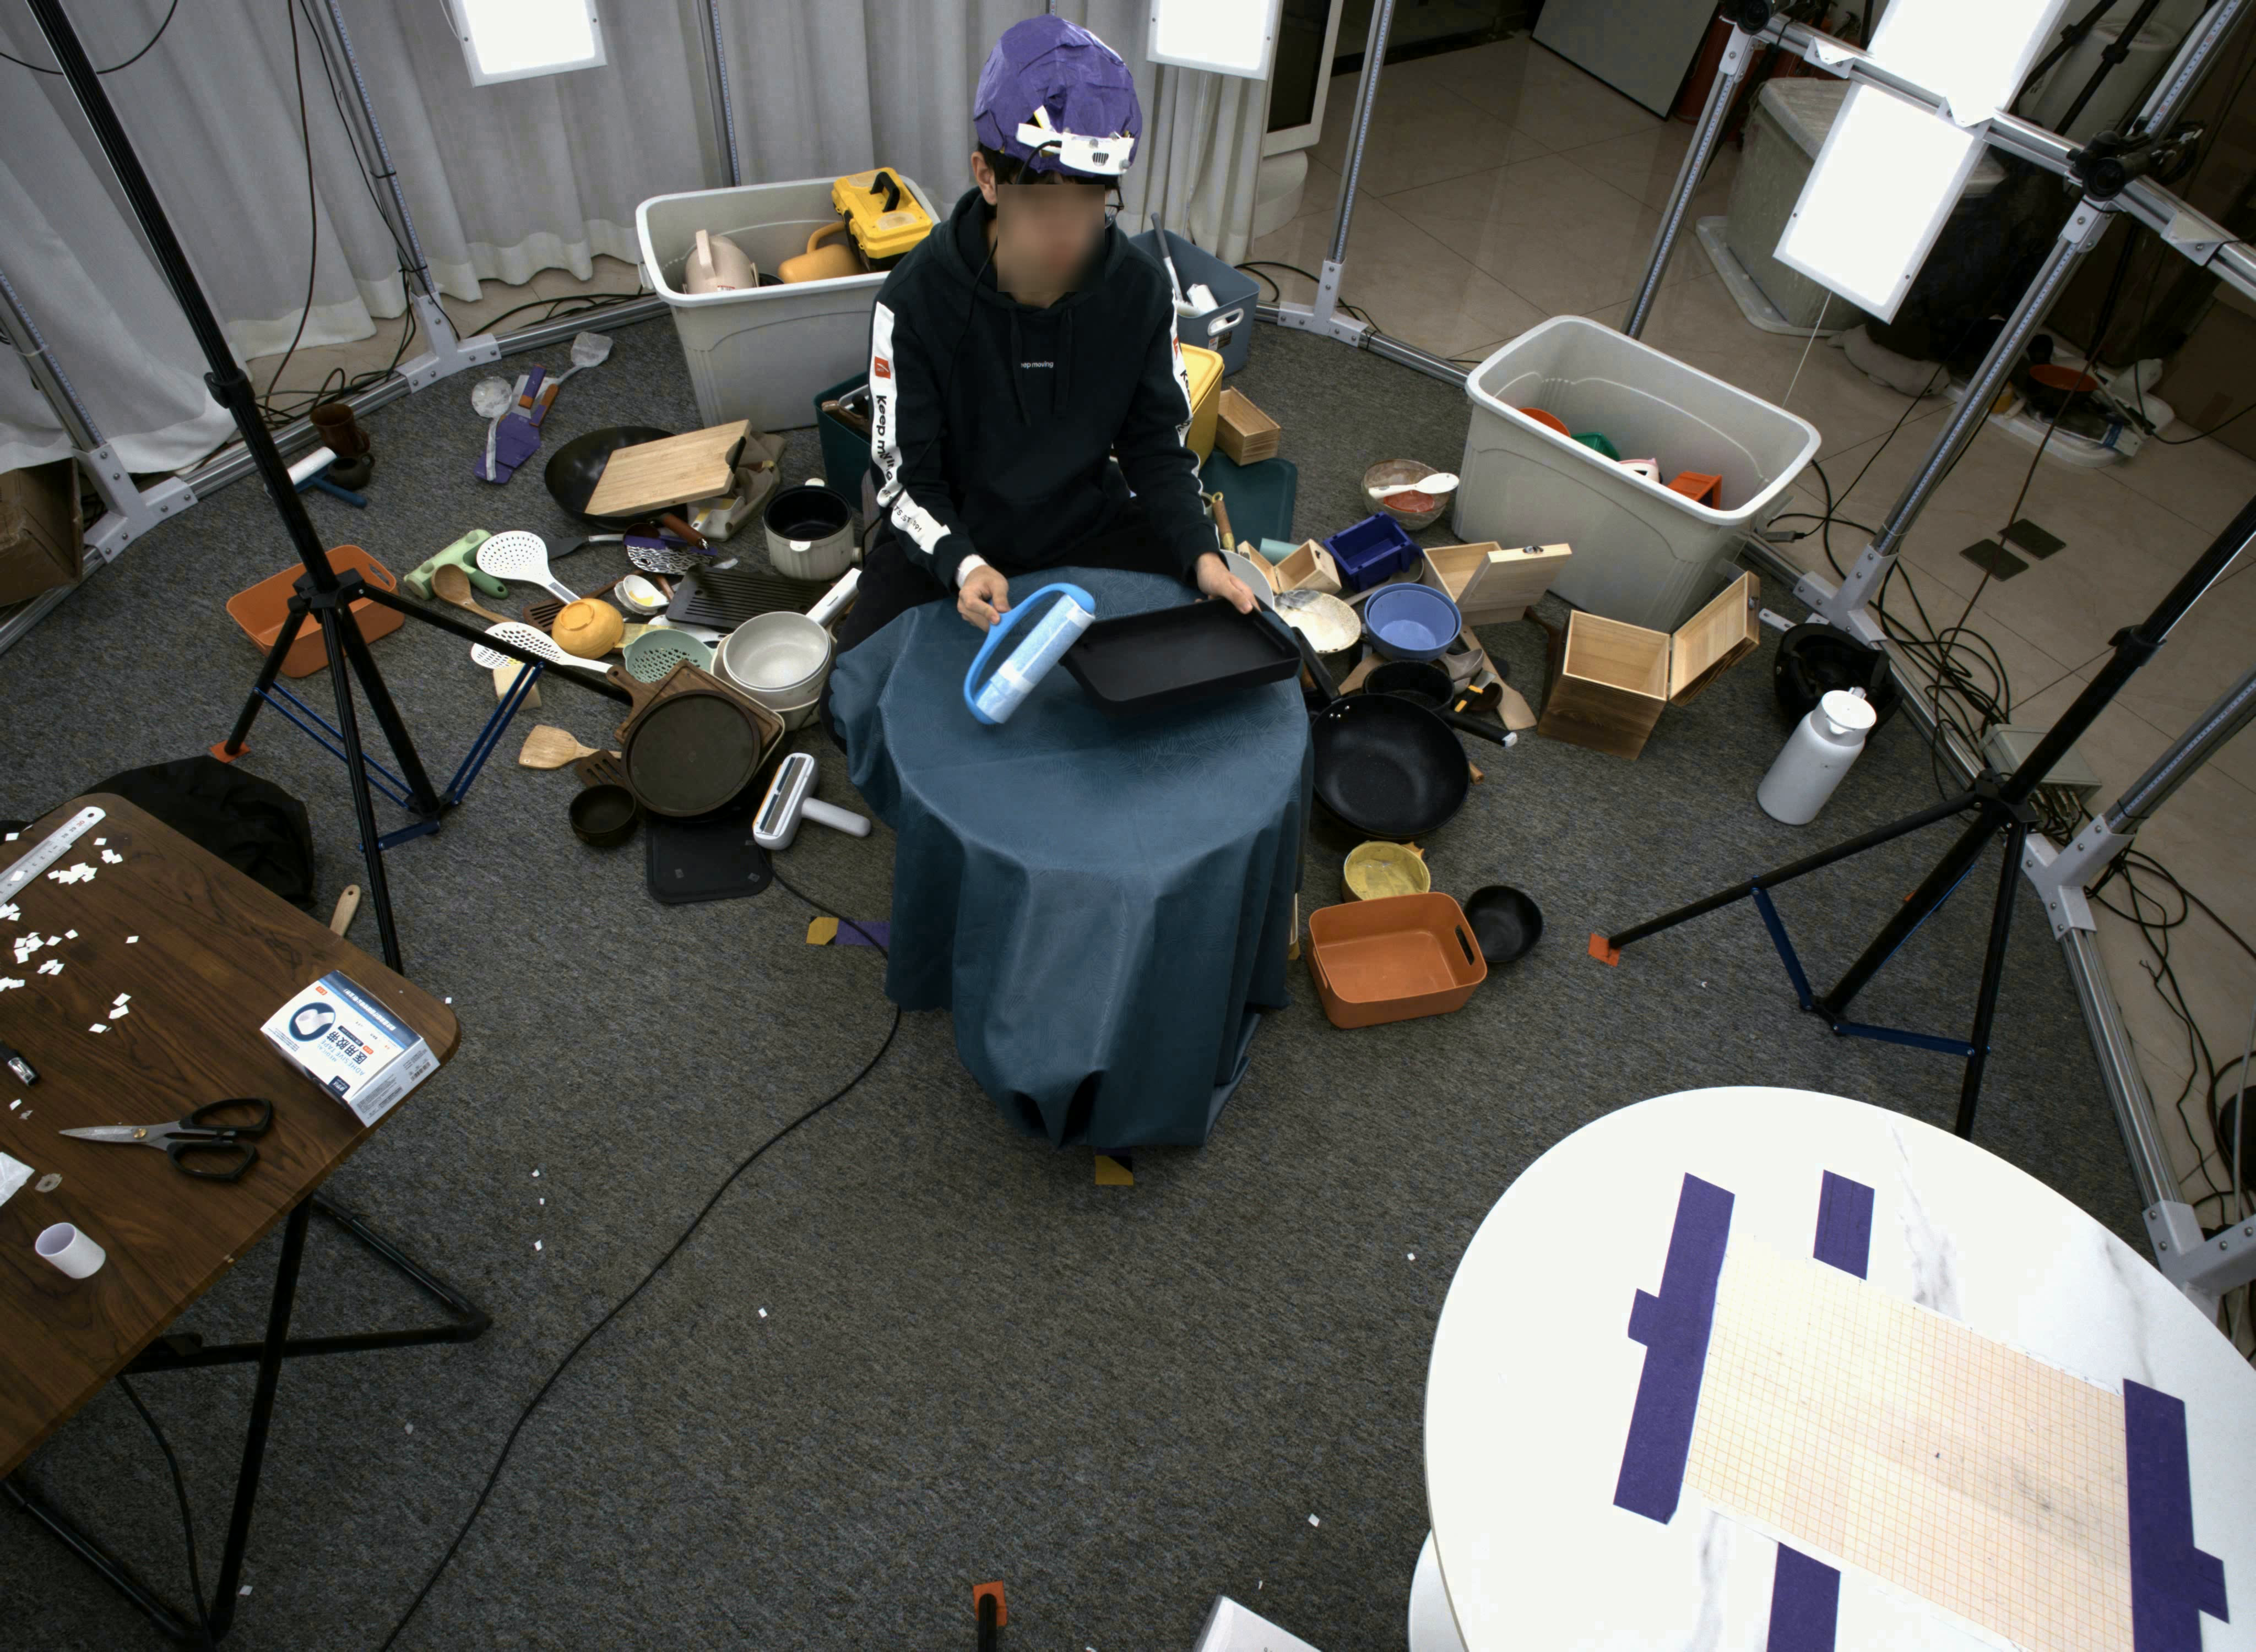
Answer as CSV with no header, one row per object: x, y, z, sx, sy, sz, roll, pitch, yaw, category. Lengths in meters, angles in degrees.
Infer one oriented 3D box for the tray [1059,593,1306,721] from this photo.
0.074,-0.242,1.796,0.318,0.036,0.188,-17,44,-25,tray

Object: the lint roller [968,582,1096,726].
-0.158,-0.264,1.760,0.184,0.227,0.067,47,16,34,lint roller
